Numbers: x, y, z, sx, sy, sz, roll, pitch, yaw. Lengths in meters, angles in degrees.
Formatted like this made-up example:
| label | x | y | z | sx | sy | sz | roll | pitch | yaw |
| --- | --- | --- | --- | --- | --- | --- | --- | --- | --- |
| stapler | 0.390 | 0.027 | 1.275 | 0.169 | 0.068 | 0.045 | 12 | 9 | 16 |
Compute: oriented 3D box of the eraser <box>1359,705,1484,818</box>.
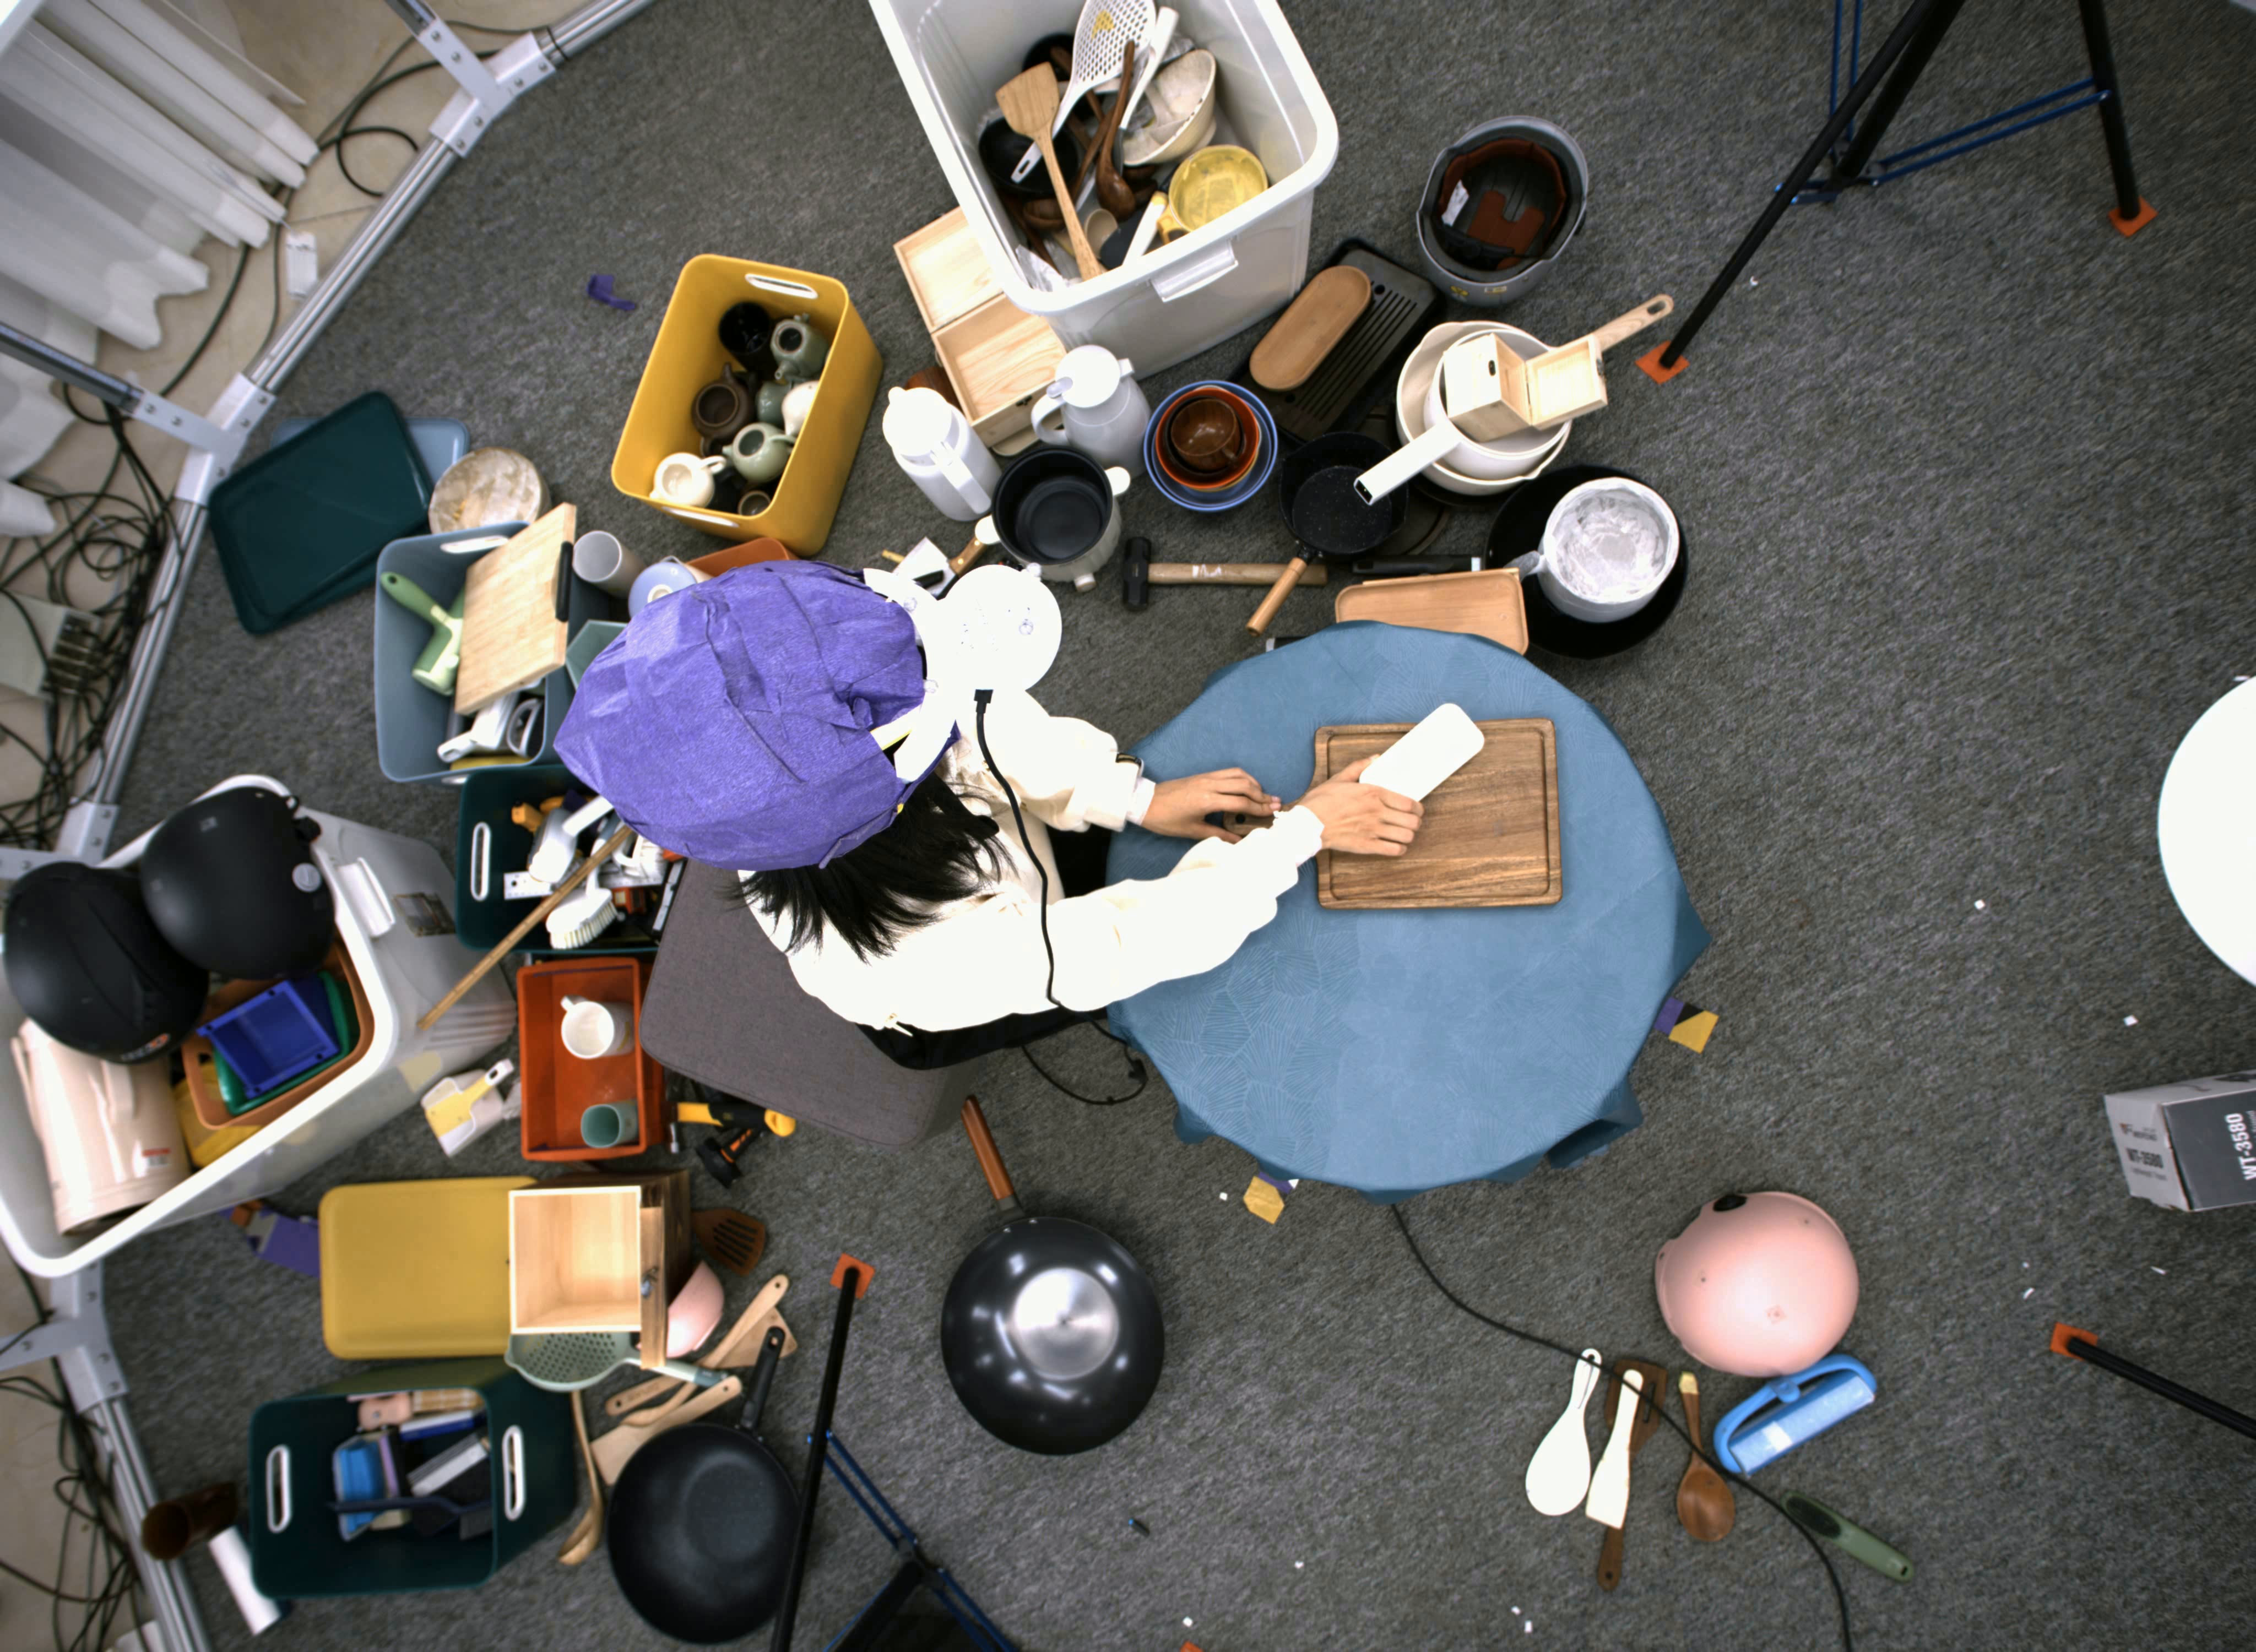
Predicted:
| label | x | y | z | sx | sy | sz | roll | pitch | yaw |
| --- | --- | --- | --- | --- | --- | --- | --- | --- | --- |
| eraser | 0.304 | -0.069 | 1.428 | 0.132 | 0.034 | 0.063 | -39 | 81 | 8 |

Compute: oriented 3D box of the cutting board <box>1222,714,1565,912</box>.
| label | x | y | z | sx | sy | sz | roll | pitch | yaw |
| --- | --- | --- | --- | --- | --- | --- | --- | --- | --- |
| cutting board | 0.275 | -0.012 | 1.453 | 0.353 | 0.023 | 0.200 | -2 | 86 | 10 |
